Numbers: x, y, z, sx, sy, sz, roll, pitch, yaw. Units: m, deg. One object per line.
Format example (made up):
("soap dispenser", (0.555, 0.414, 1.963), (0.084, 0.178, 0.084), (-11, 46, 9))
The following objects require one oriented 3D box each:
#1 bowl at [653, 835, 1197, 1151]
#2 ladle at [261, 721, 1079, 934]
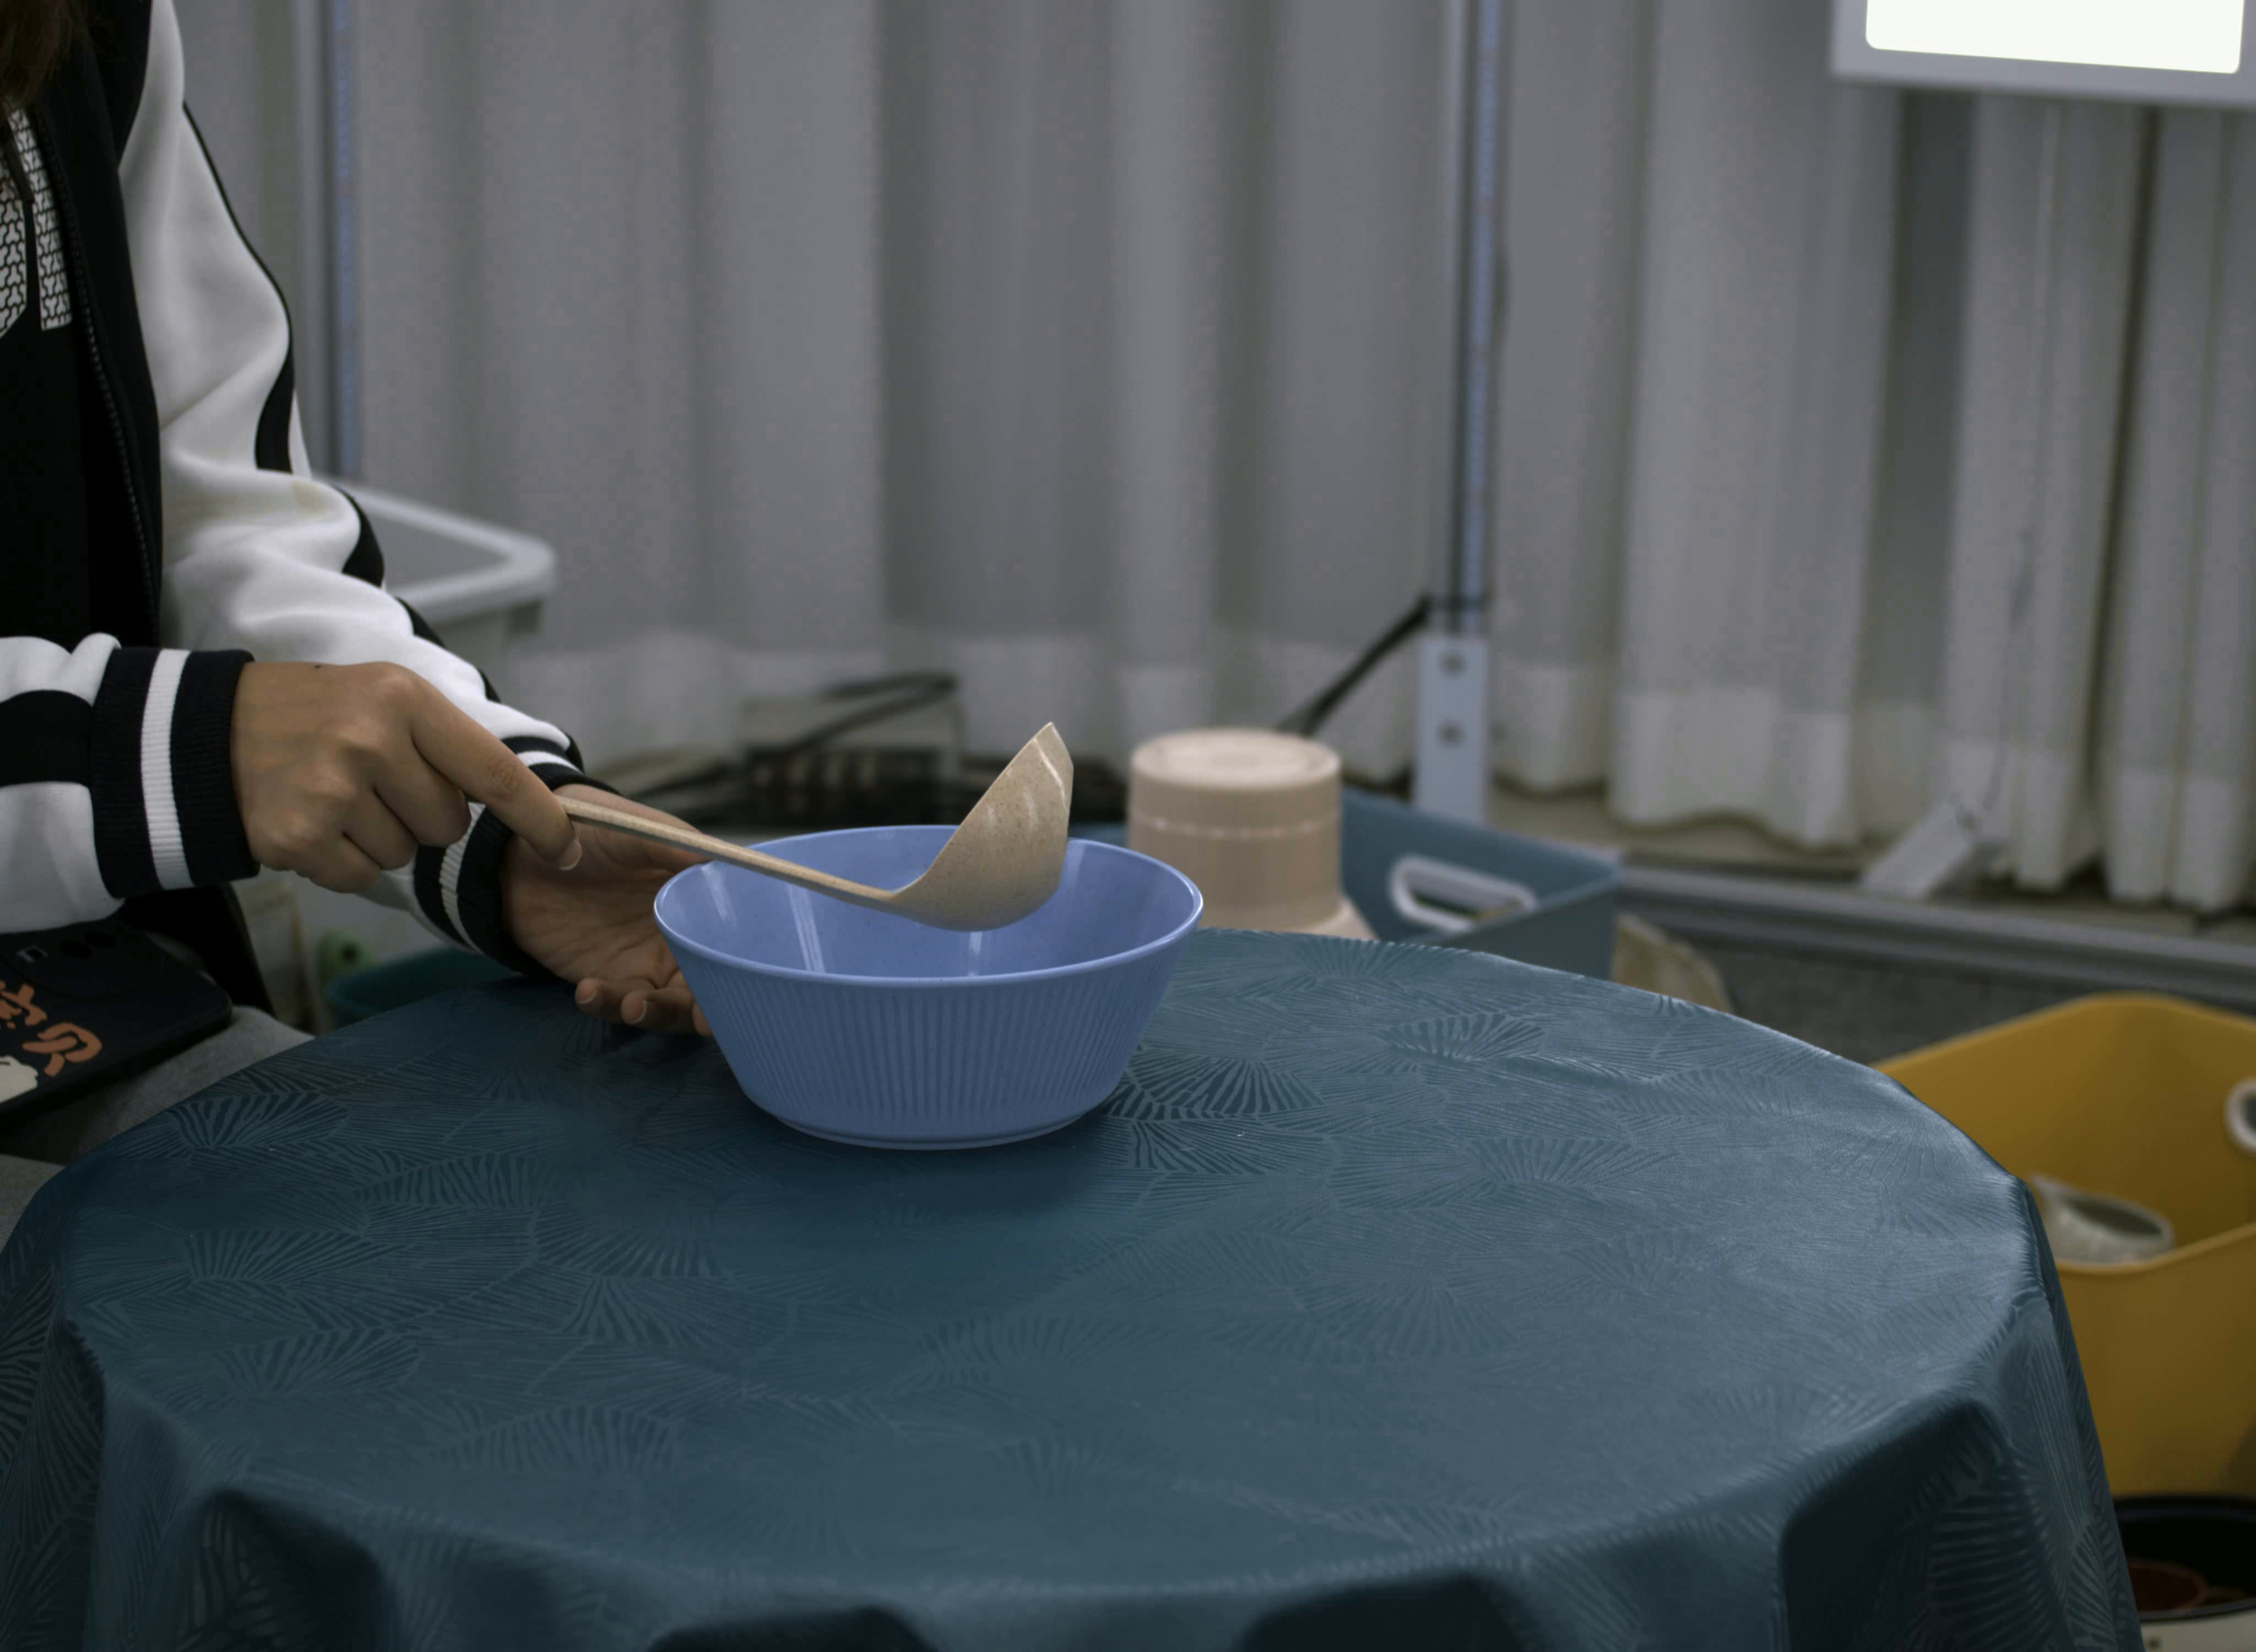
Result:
("bowl", (-0.065, 0.056, 1.694), (0.175, 0.071, 0.175), (1, 15, 0))
("ladle", (-0.141, -0.022, 1.661), (0.254, 0.073, 0.072), (13, -12, -5))
